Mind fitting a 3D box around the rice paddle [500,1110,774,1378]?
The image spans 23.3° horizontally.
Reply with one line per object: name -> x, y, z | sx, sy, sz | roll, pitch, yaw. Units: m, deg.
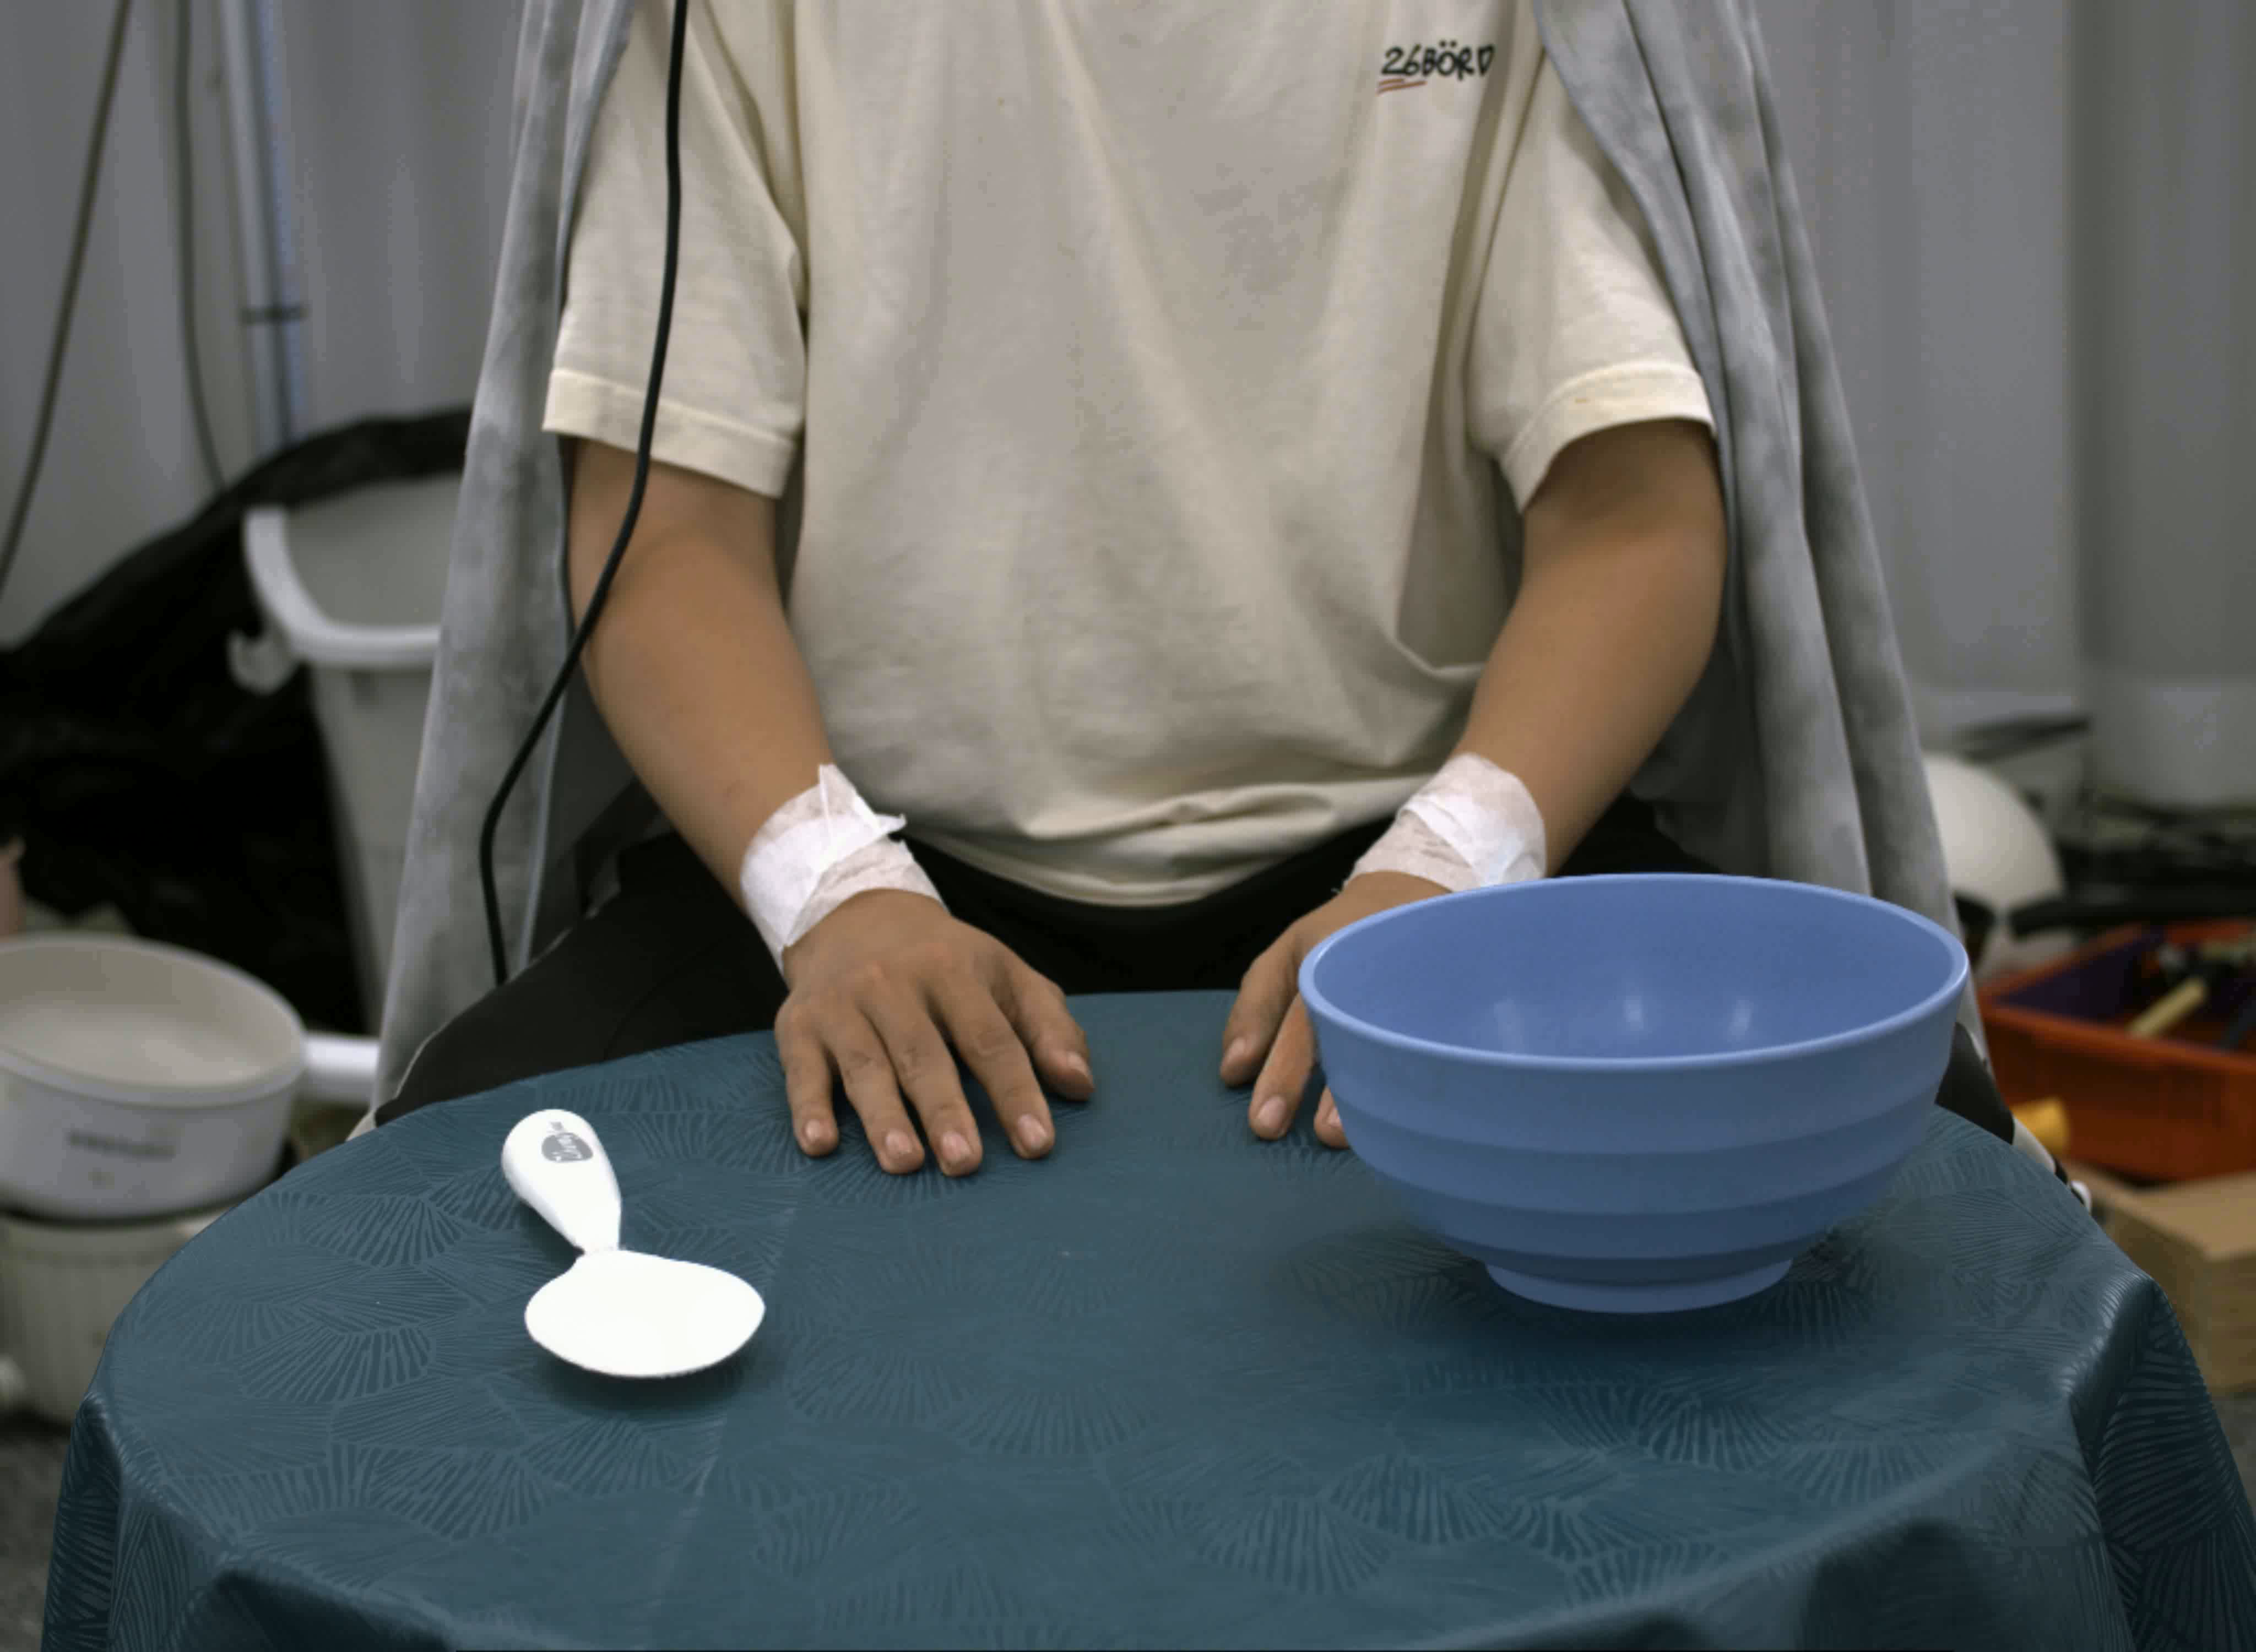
rice paddle -> -0.154, 0.128, 1.642 | 0.068, 0.029, 0.207 | -8, 16, -15

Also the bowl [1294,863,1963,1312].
bowl -> 0.149, 0.083, 1.619 | 0.196, 0.095, 0.198 | -4, 16, 1
